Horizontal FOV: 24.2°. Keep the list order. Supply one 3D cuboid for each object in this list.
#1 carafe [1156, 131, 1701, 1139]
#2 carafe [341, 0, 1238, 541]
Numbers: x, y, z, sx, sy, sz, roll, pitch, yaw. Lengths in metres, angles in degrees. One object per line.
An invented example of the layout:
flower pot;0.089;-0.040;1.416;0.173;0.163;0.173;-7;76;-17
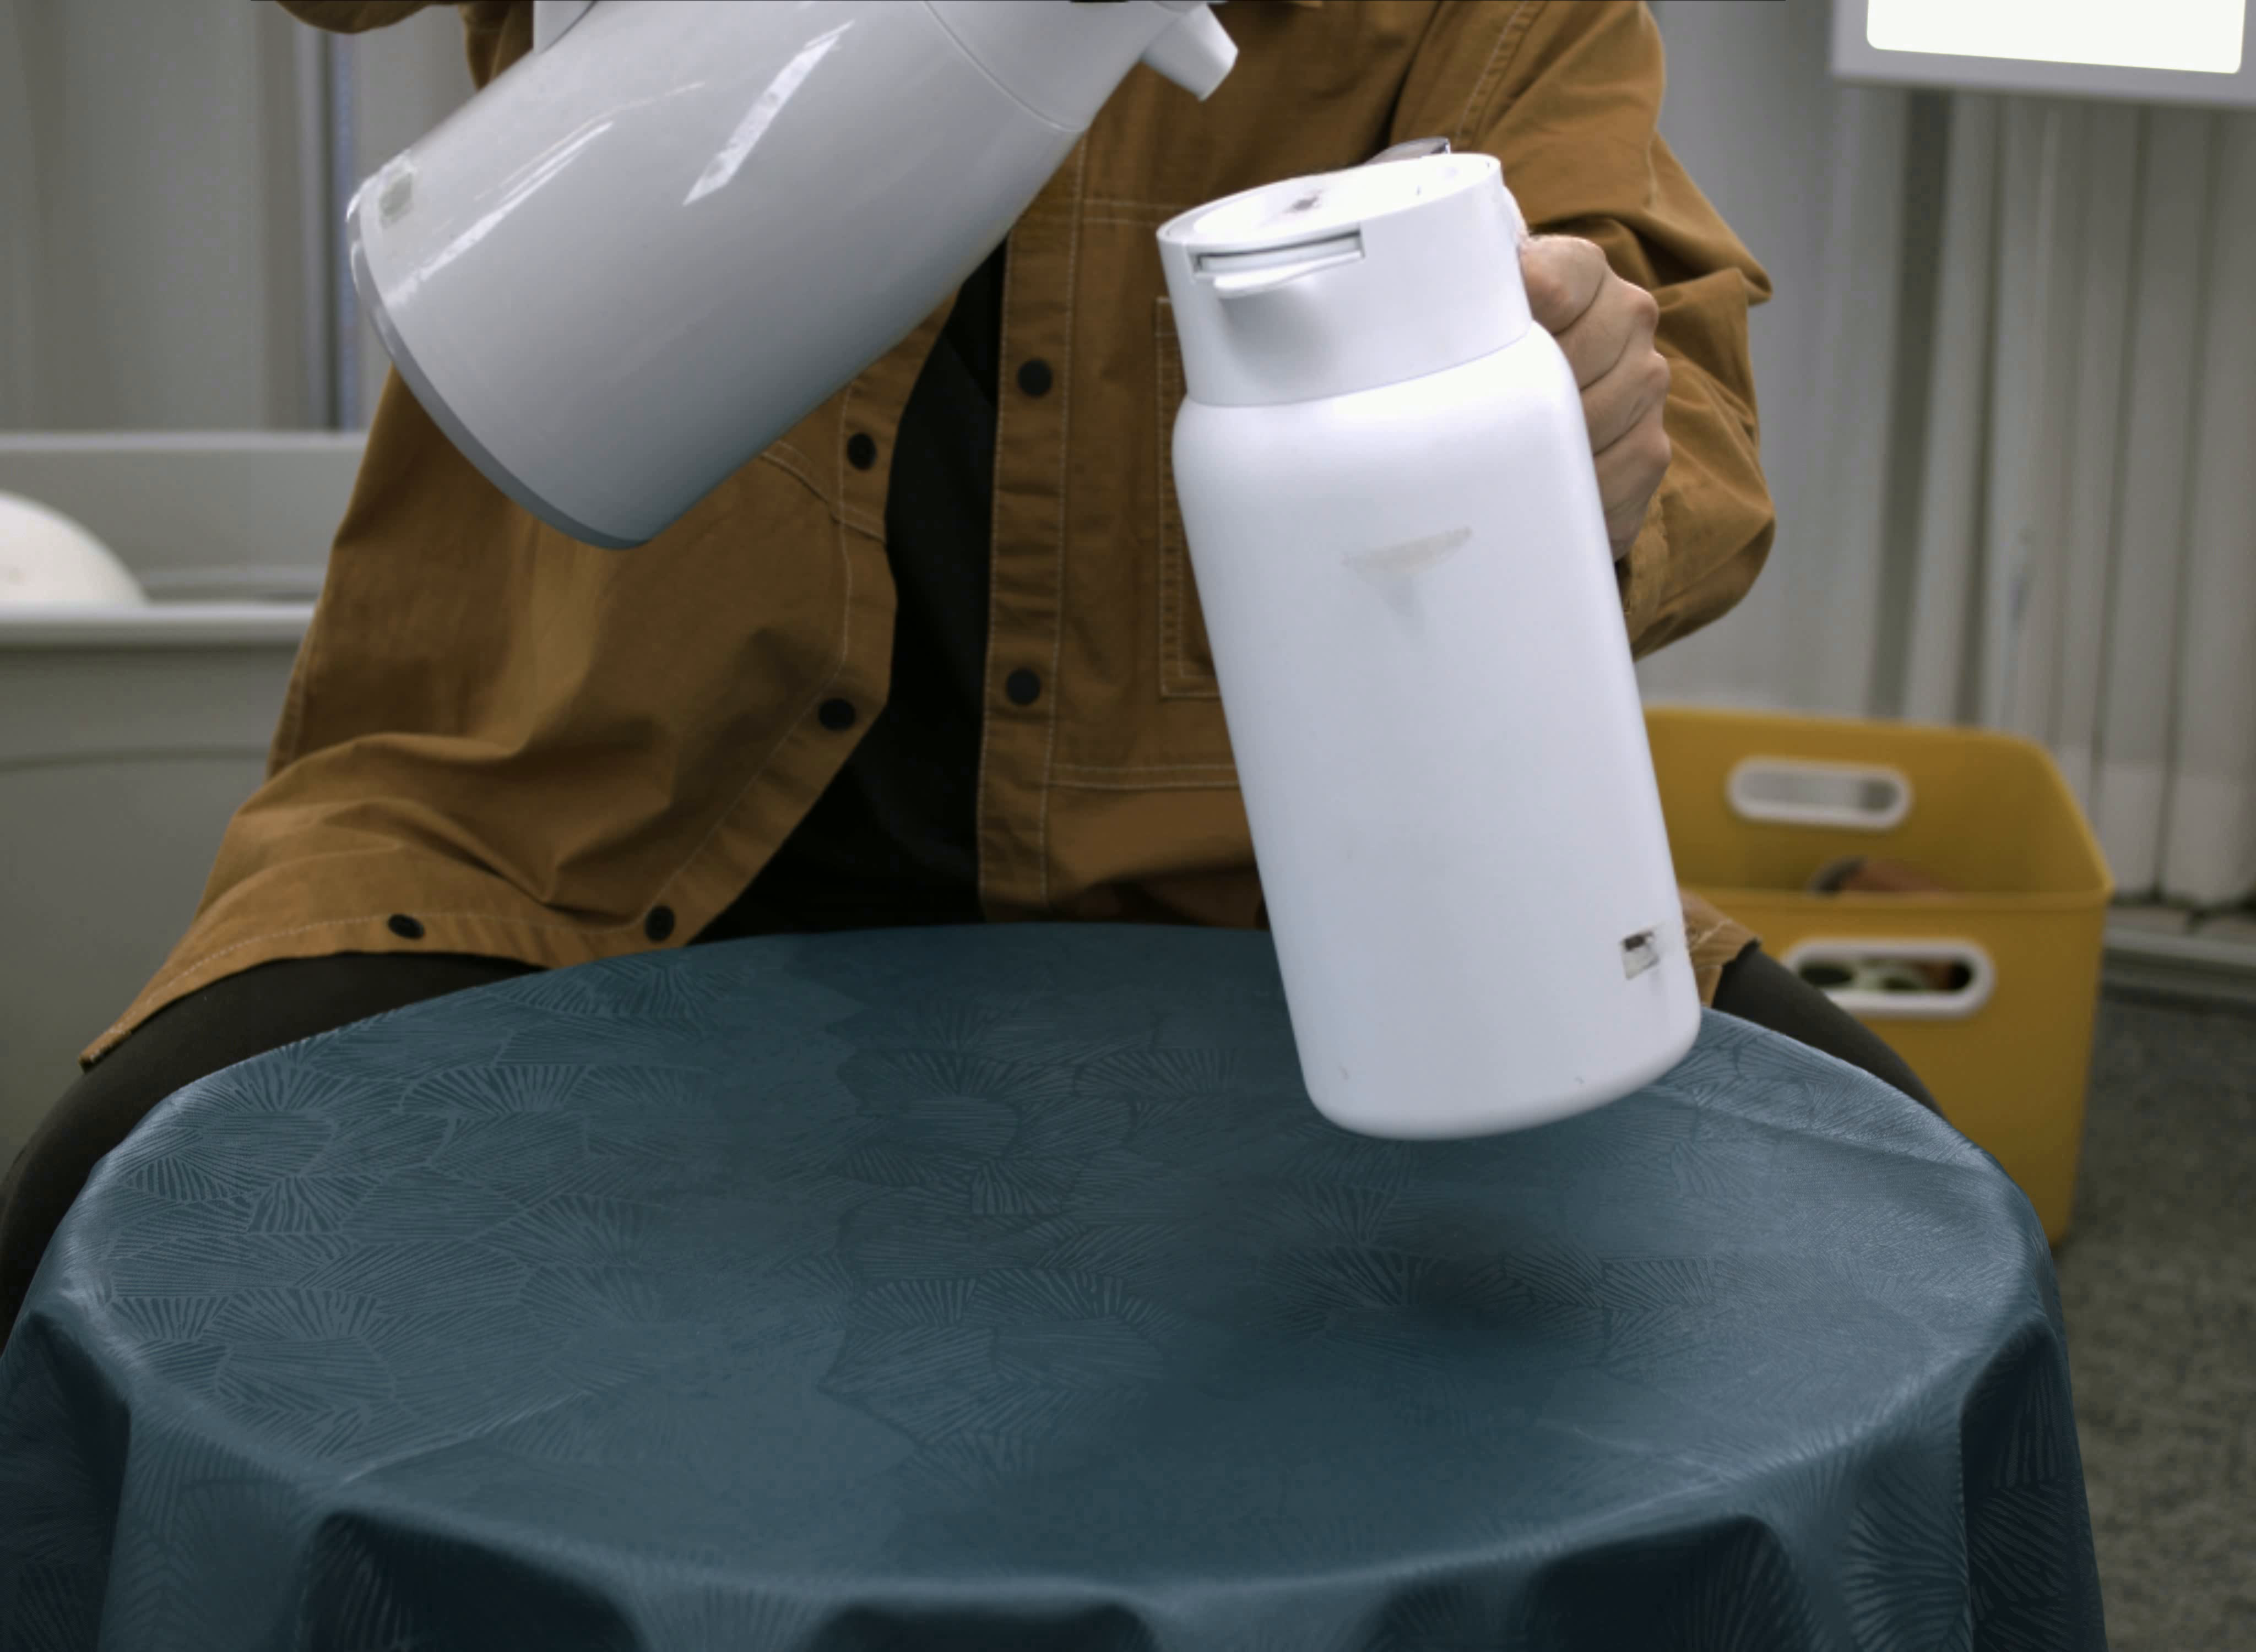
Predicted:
carafe;0.088;-0.058;1.506;0.123;0.271;0.173;-7;16;27
carafe;-0.100;-0.217;1.467;0.248;0.169;0.132;-36;17;21
